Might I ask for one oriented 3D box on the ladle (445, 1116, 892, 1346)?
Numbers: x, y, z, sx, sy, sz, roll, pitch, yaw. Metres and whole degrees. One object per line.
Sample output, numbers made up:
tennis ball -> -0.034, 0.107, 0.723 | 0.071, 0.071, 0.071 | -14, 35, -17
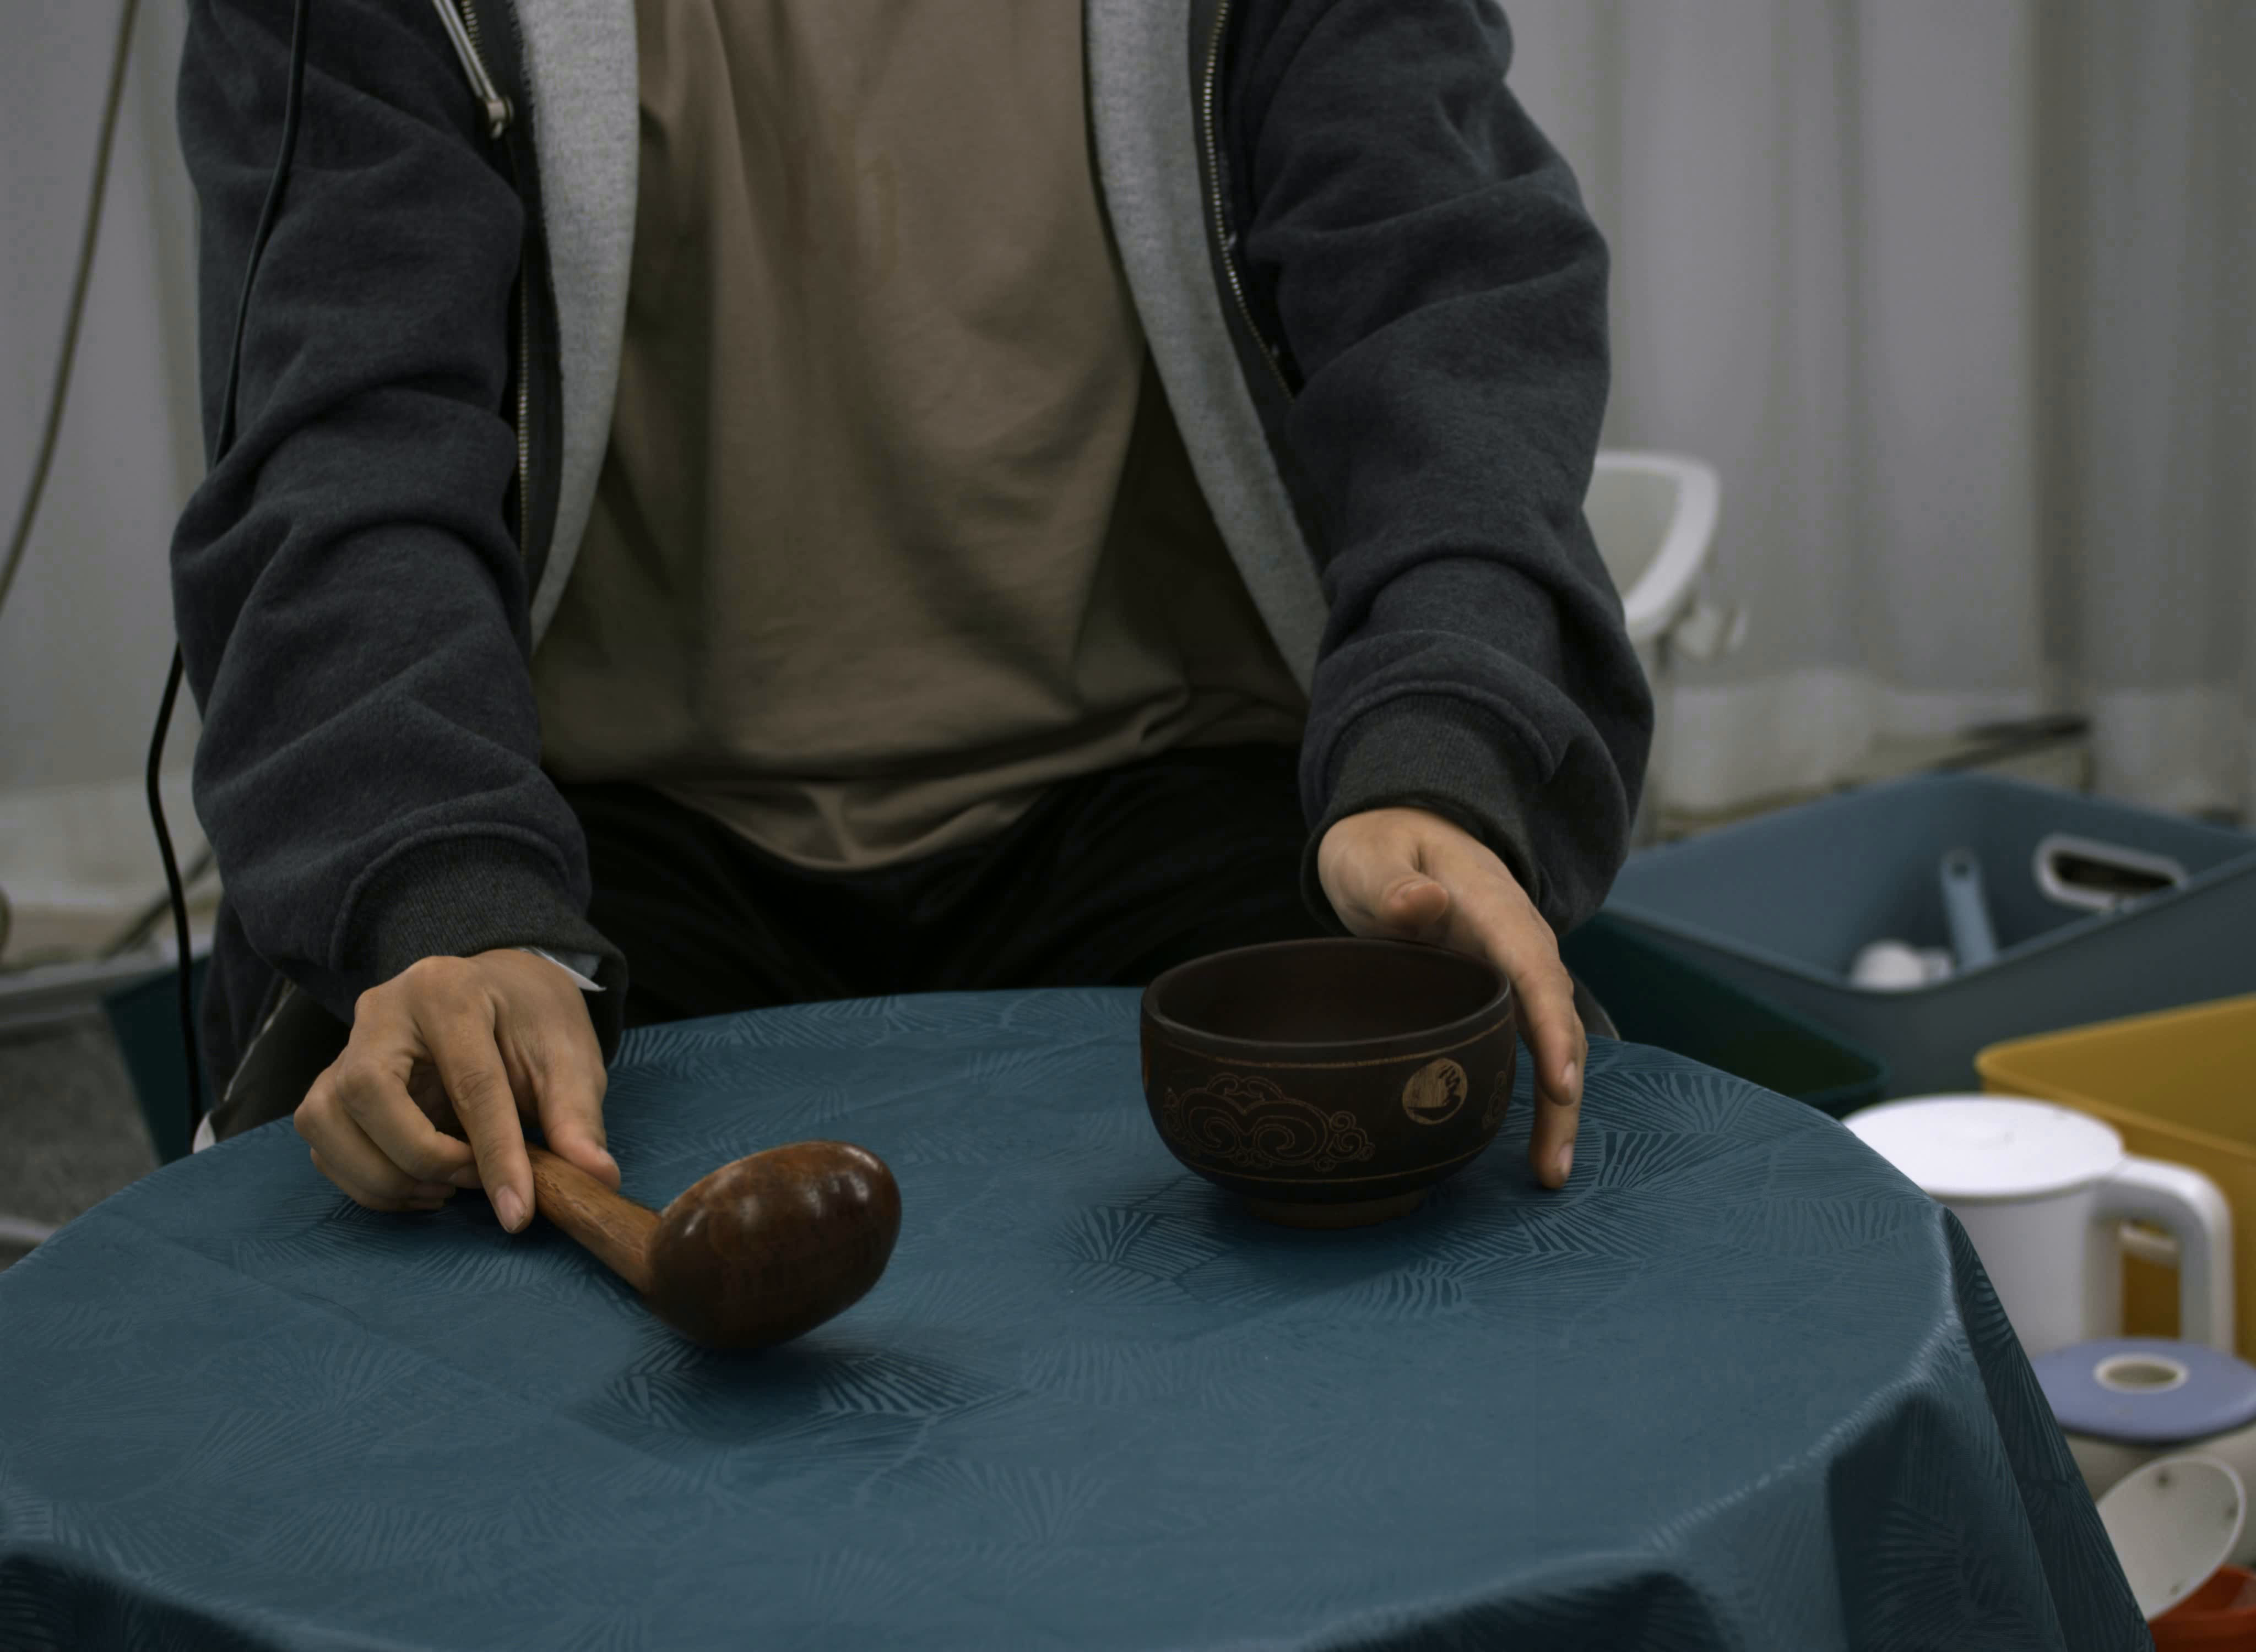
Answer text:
ladle -> -0.154, 0.097, 1.658 | 0.081, 0.076, 0.276 | -4, 14, -27

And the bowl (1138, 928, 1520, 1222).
bowl -> 0.063, 0.081, 1.689 | 0.117, 0.069, 0.119 | -3, 15, 1
